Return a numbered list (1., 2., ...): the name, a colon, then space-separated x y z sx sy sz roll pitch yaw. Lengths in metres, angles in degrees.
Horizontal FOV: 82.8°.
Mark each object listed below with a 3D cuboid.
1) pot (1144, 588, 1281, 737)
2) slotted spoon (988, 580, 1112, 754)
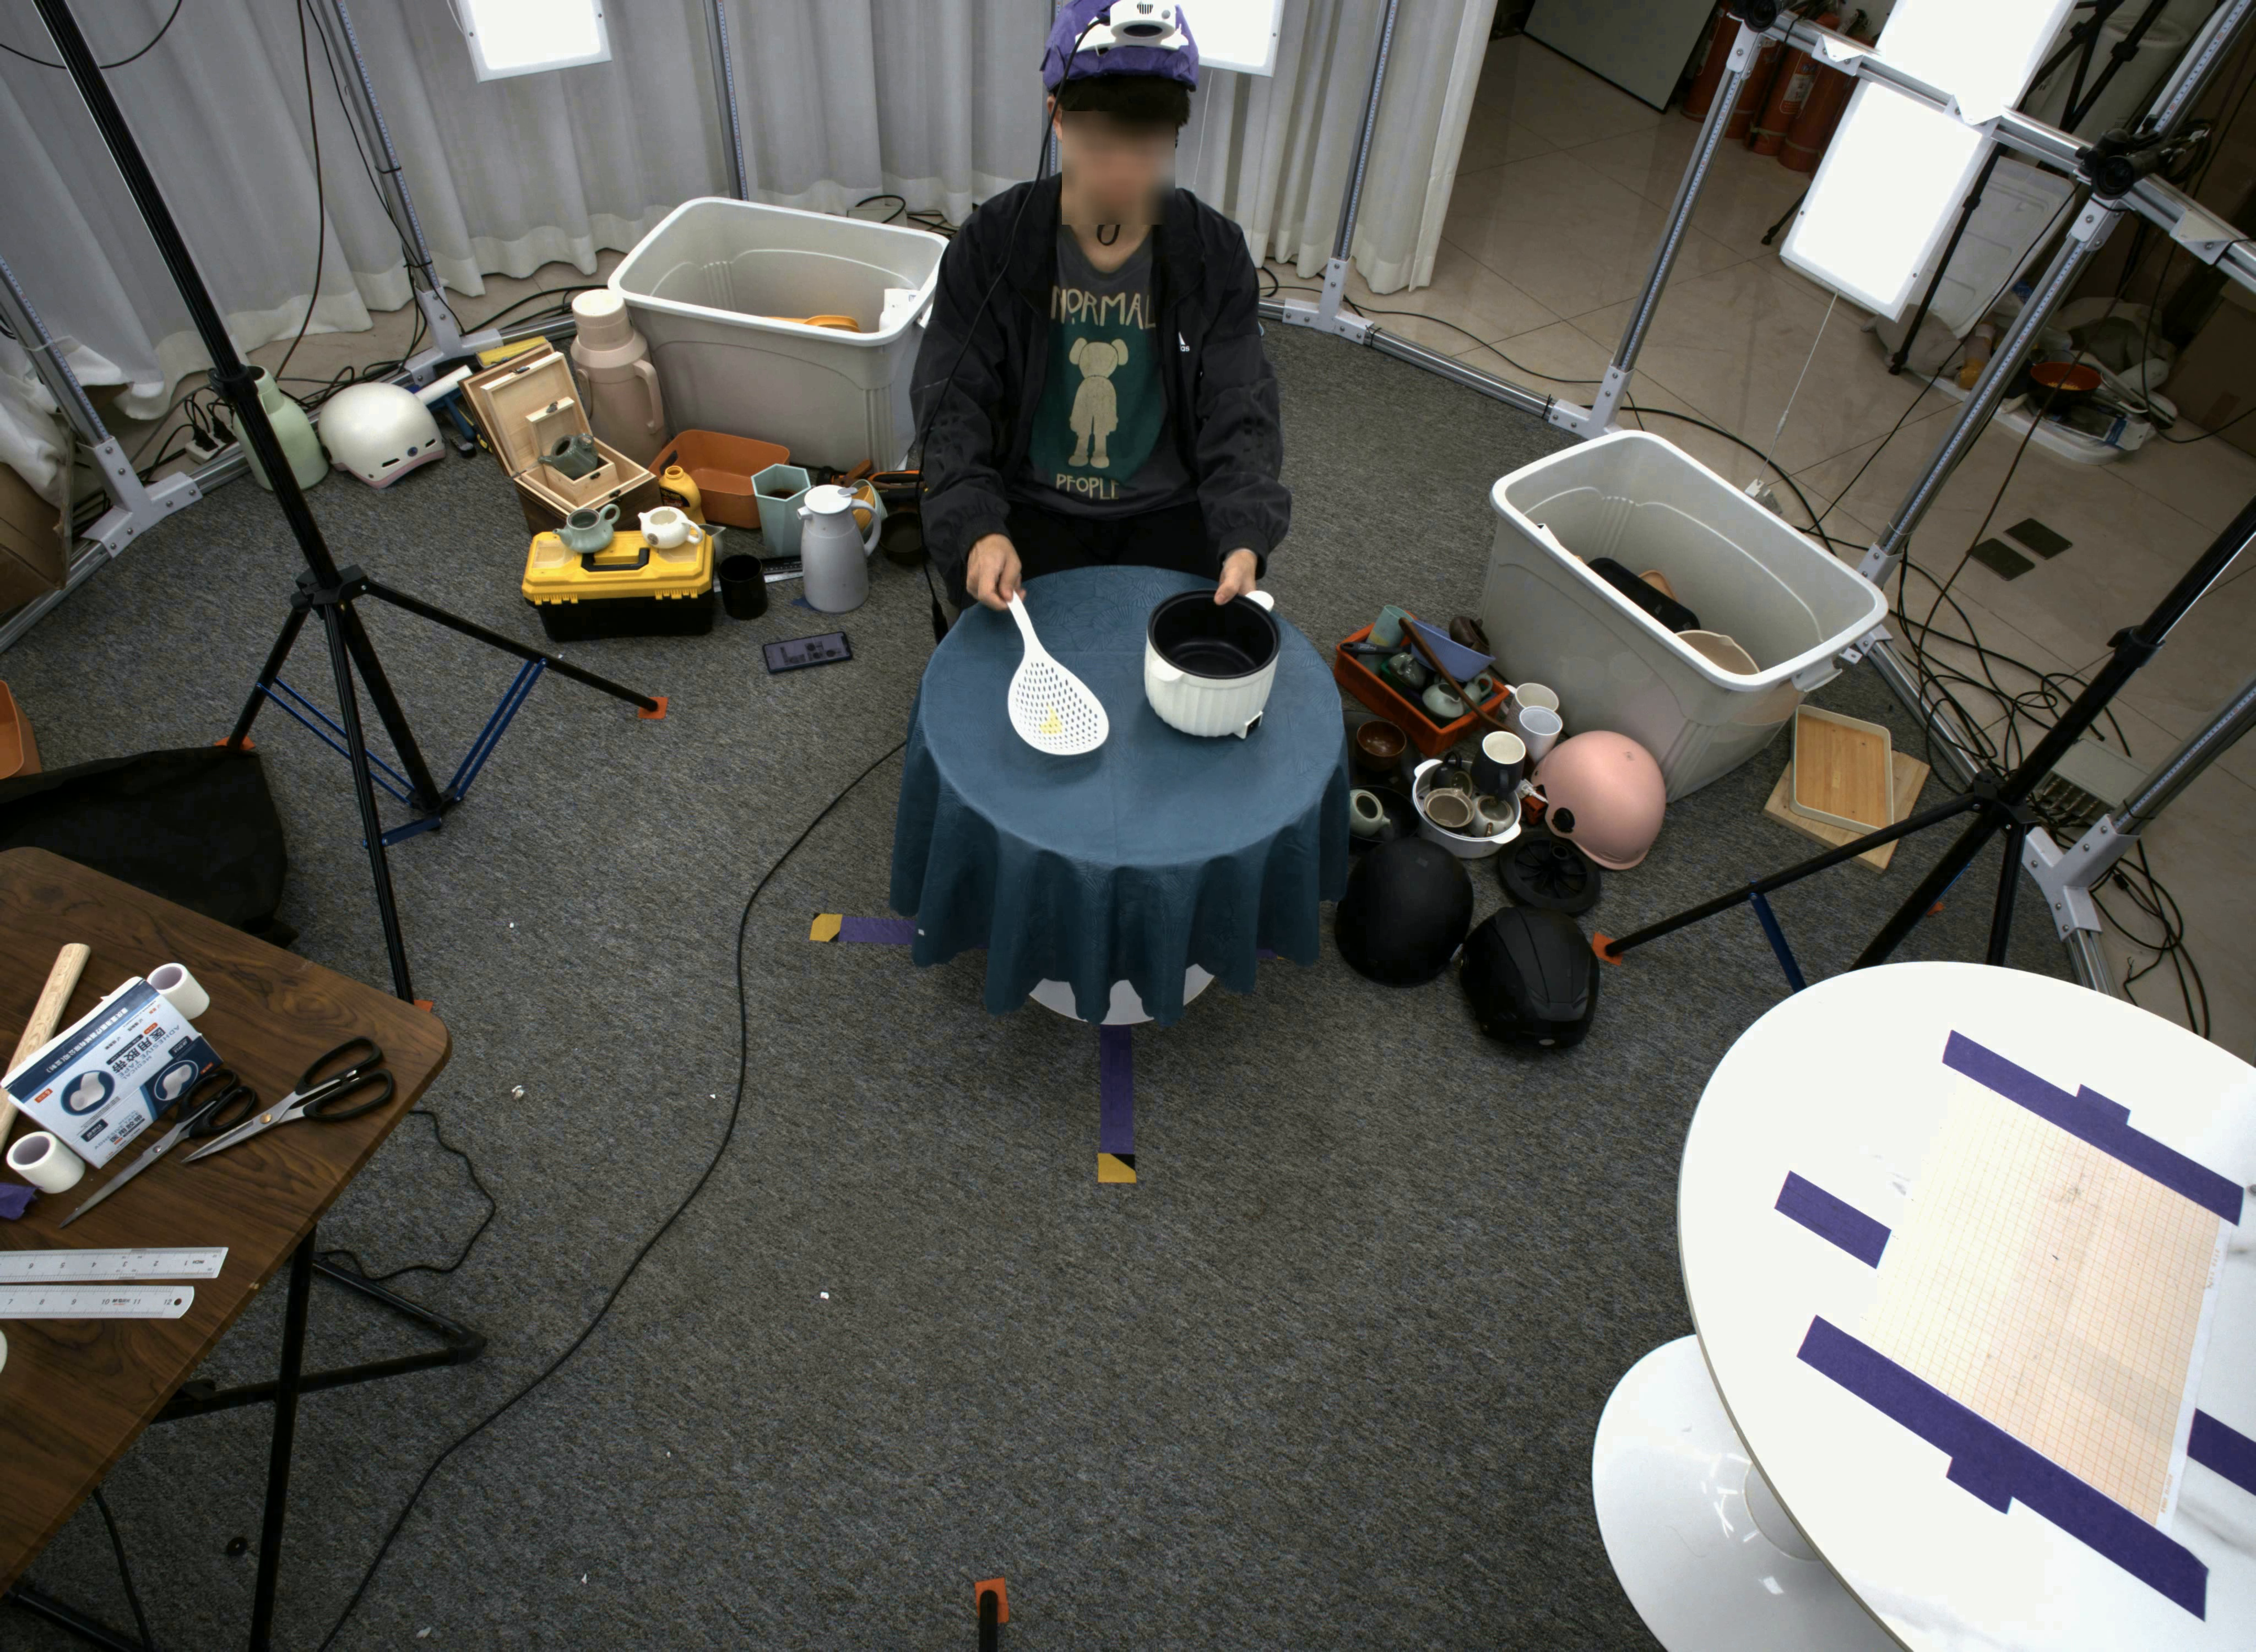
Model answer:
1. pot: 0.107 -0.221 1.775 0.193 0.139 0.243 36 54 21
2. slotted spoon: -0.130 -0.230 1.797 0.136 0.049 0.355 -9 59 -22
